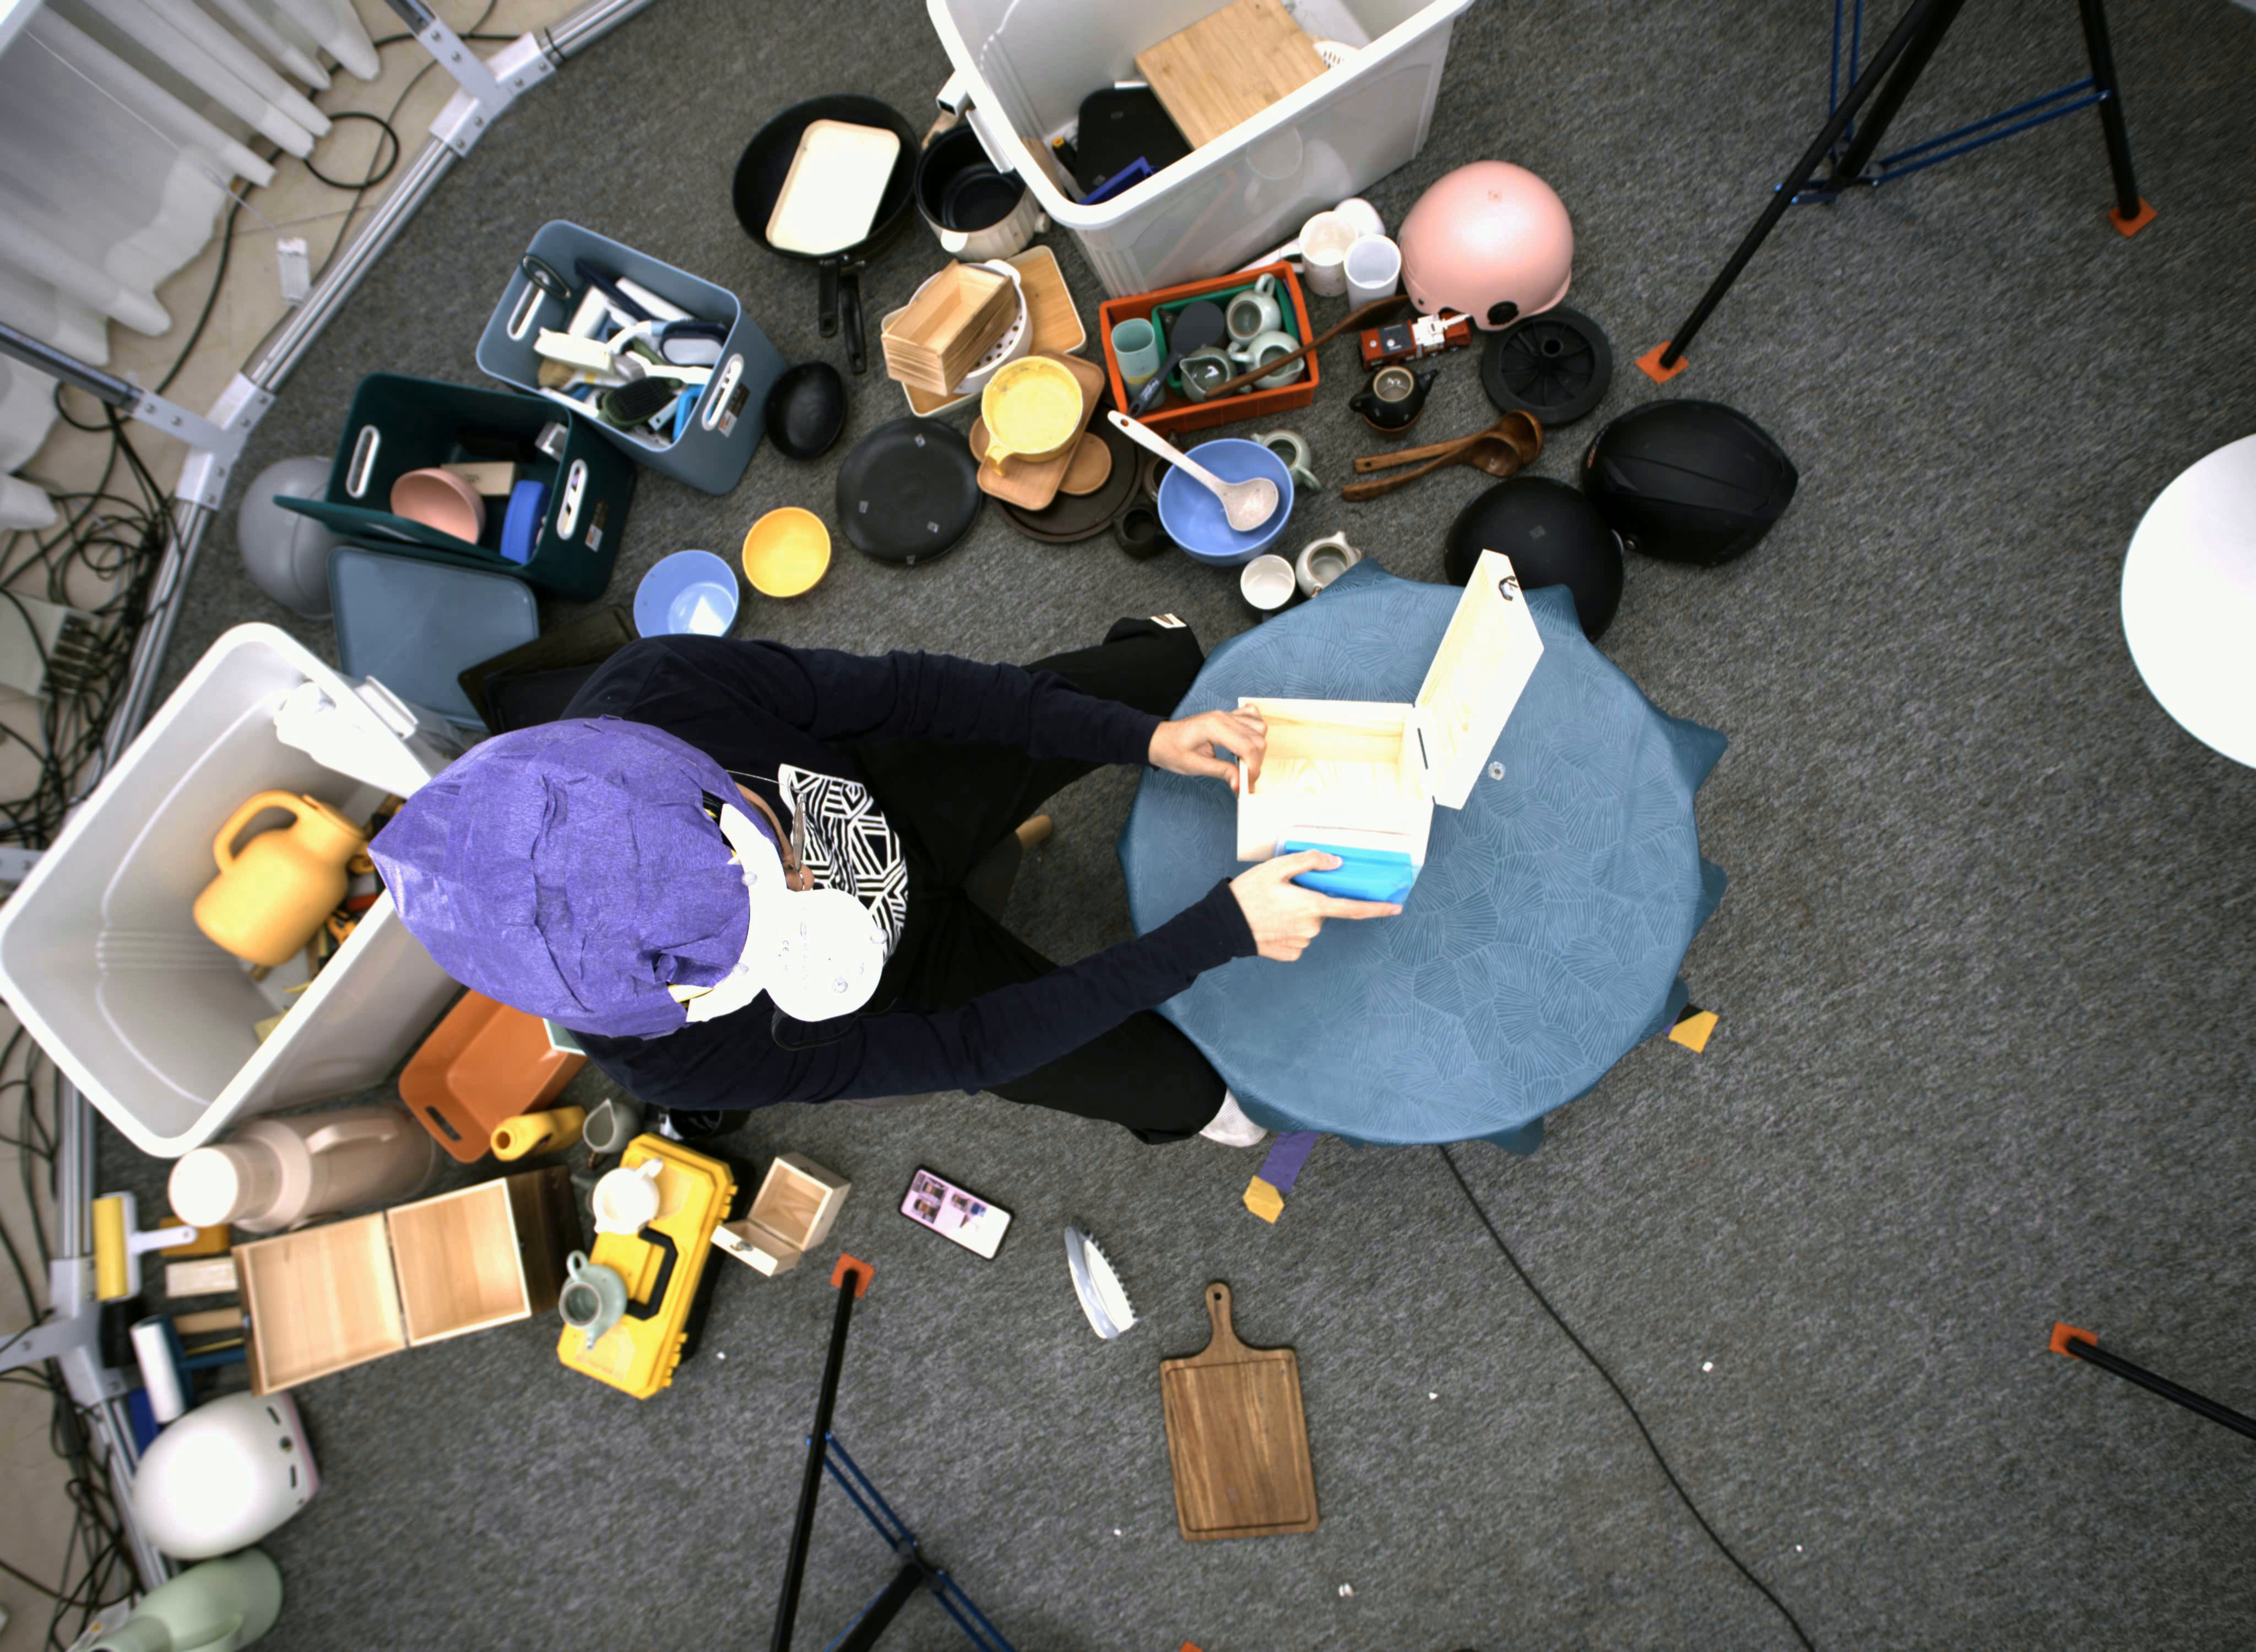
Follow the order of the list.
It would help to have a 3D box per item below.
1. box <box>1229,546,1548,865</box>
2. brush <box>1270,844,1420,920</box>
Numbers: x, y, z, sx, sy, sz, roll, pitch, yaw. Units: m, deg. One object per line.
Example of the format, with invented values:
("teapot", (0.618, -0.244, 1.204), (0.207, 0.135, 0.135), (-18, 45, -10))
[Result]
("box", (0.230, -0.117, 1.311), (0.265, 0.177, 0.259), (1, 130, 2))
("brush", (0.209, 0.061, 1.324), (0.144, 0.054, 0.086), (-2, 126, 3))
